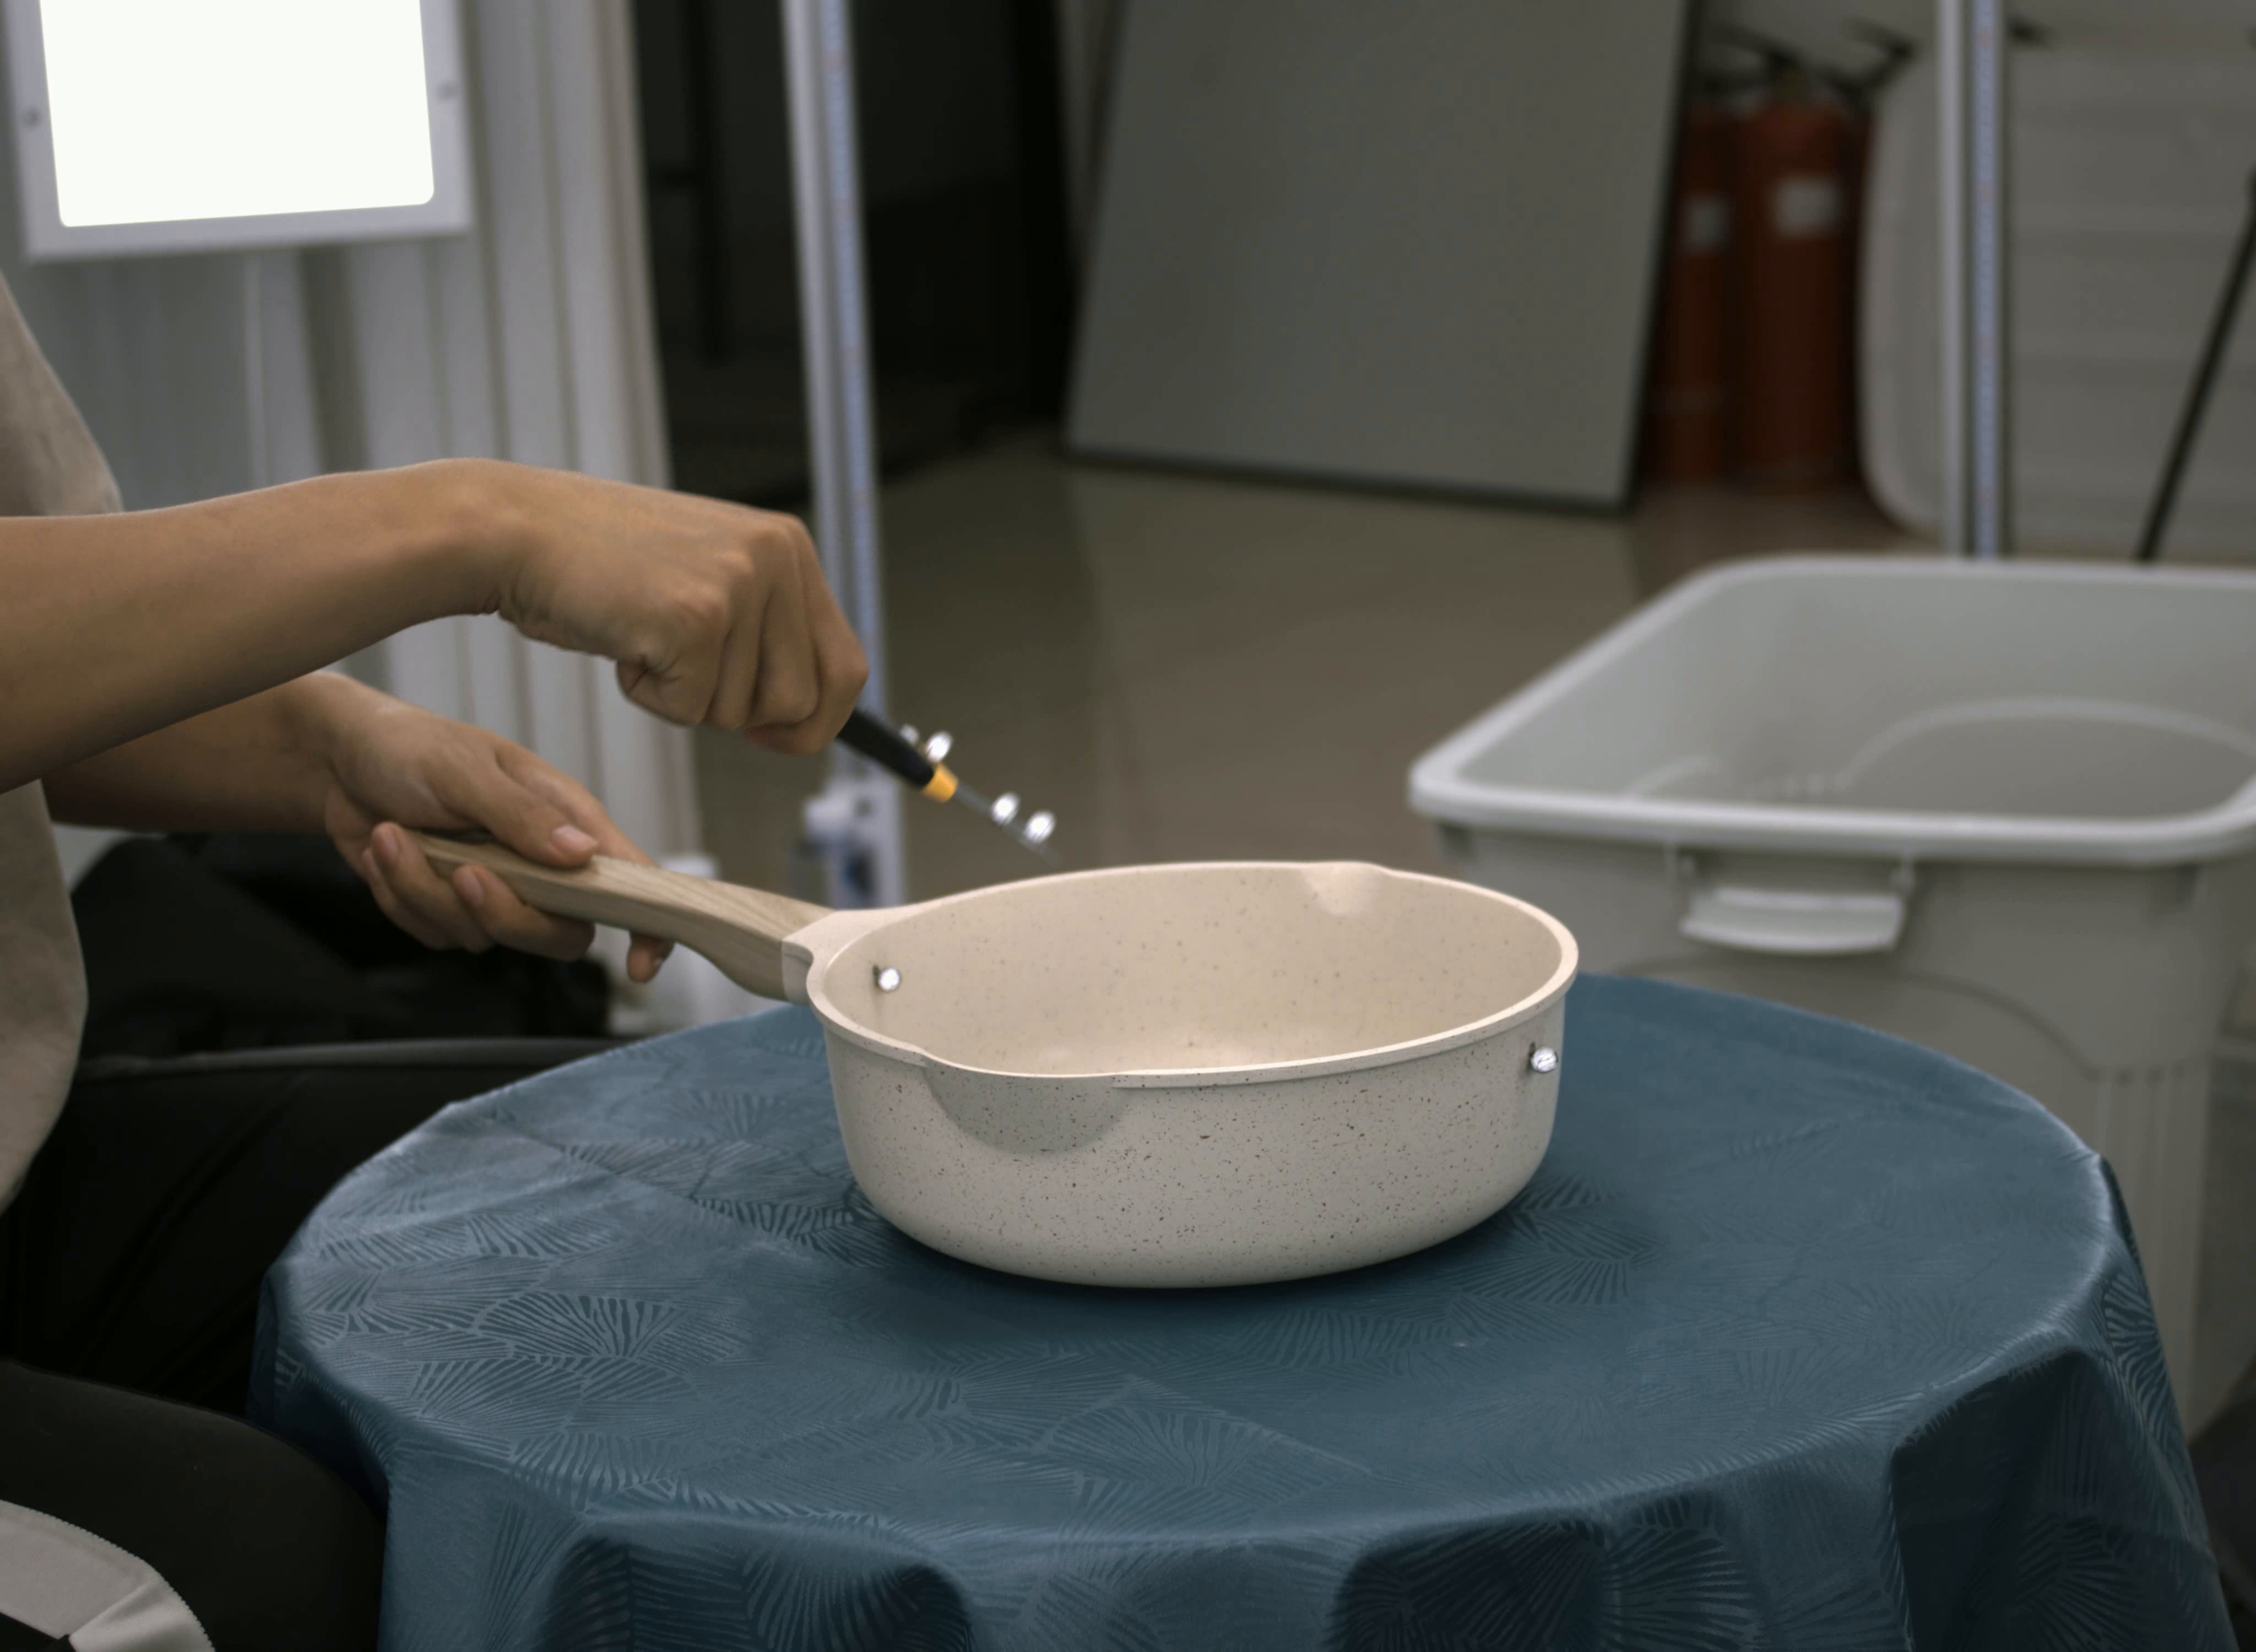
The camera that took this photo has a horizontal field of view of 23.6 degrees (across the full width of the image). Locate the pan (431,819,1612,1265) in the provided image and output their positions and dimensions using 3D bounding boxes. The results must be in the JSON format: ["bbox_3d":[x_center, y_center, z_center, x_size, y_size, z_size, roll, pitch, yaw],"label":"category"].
[{"bbox_3d":[-0.044,0.061,1.811,0.436,0.103,0.260,3,18,28],"label":"pan"}]

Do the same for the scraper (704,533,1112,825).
[{"bbox_3d":[-0.069,-0.046,1.723,0.168,0.015,0.039,33,14,-32],"label":"scraper"}]
